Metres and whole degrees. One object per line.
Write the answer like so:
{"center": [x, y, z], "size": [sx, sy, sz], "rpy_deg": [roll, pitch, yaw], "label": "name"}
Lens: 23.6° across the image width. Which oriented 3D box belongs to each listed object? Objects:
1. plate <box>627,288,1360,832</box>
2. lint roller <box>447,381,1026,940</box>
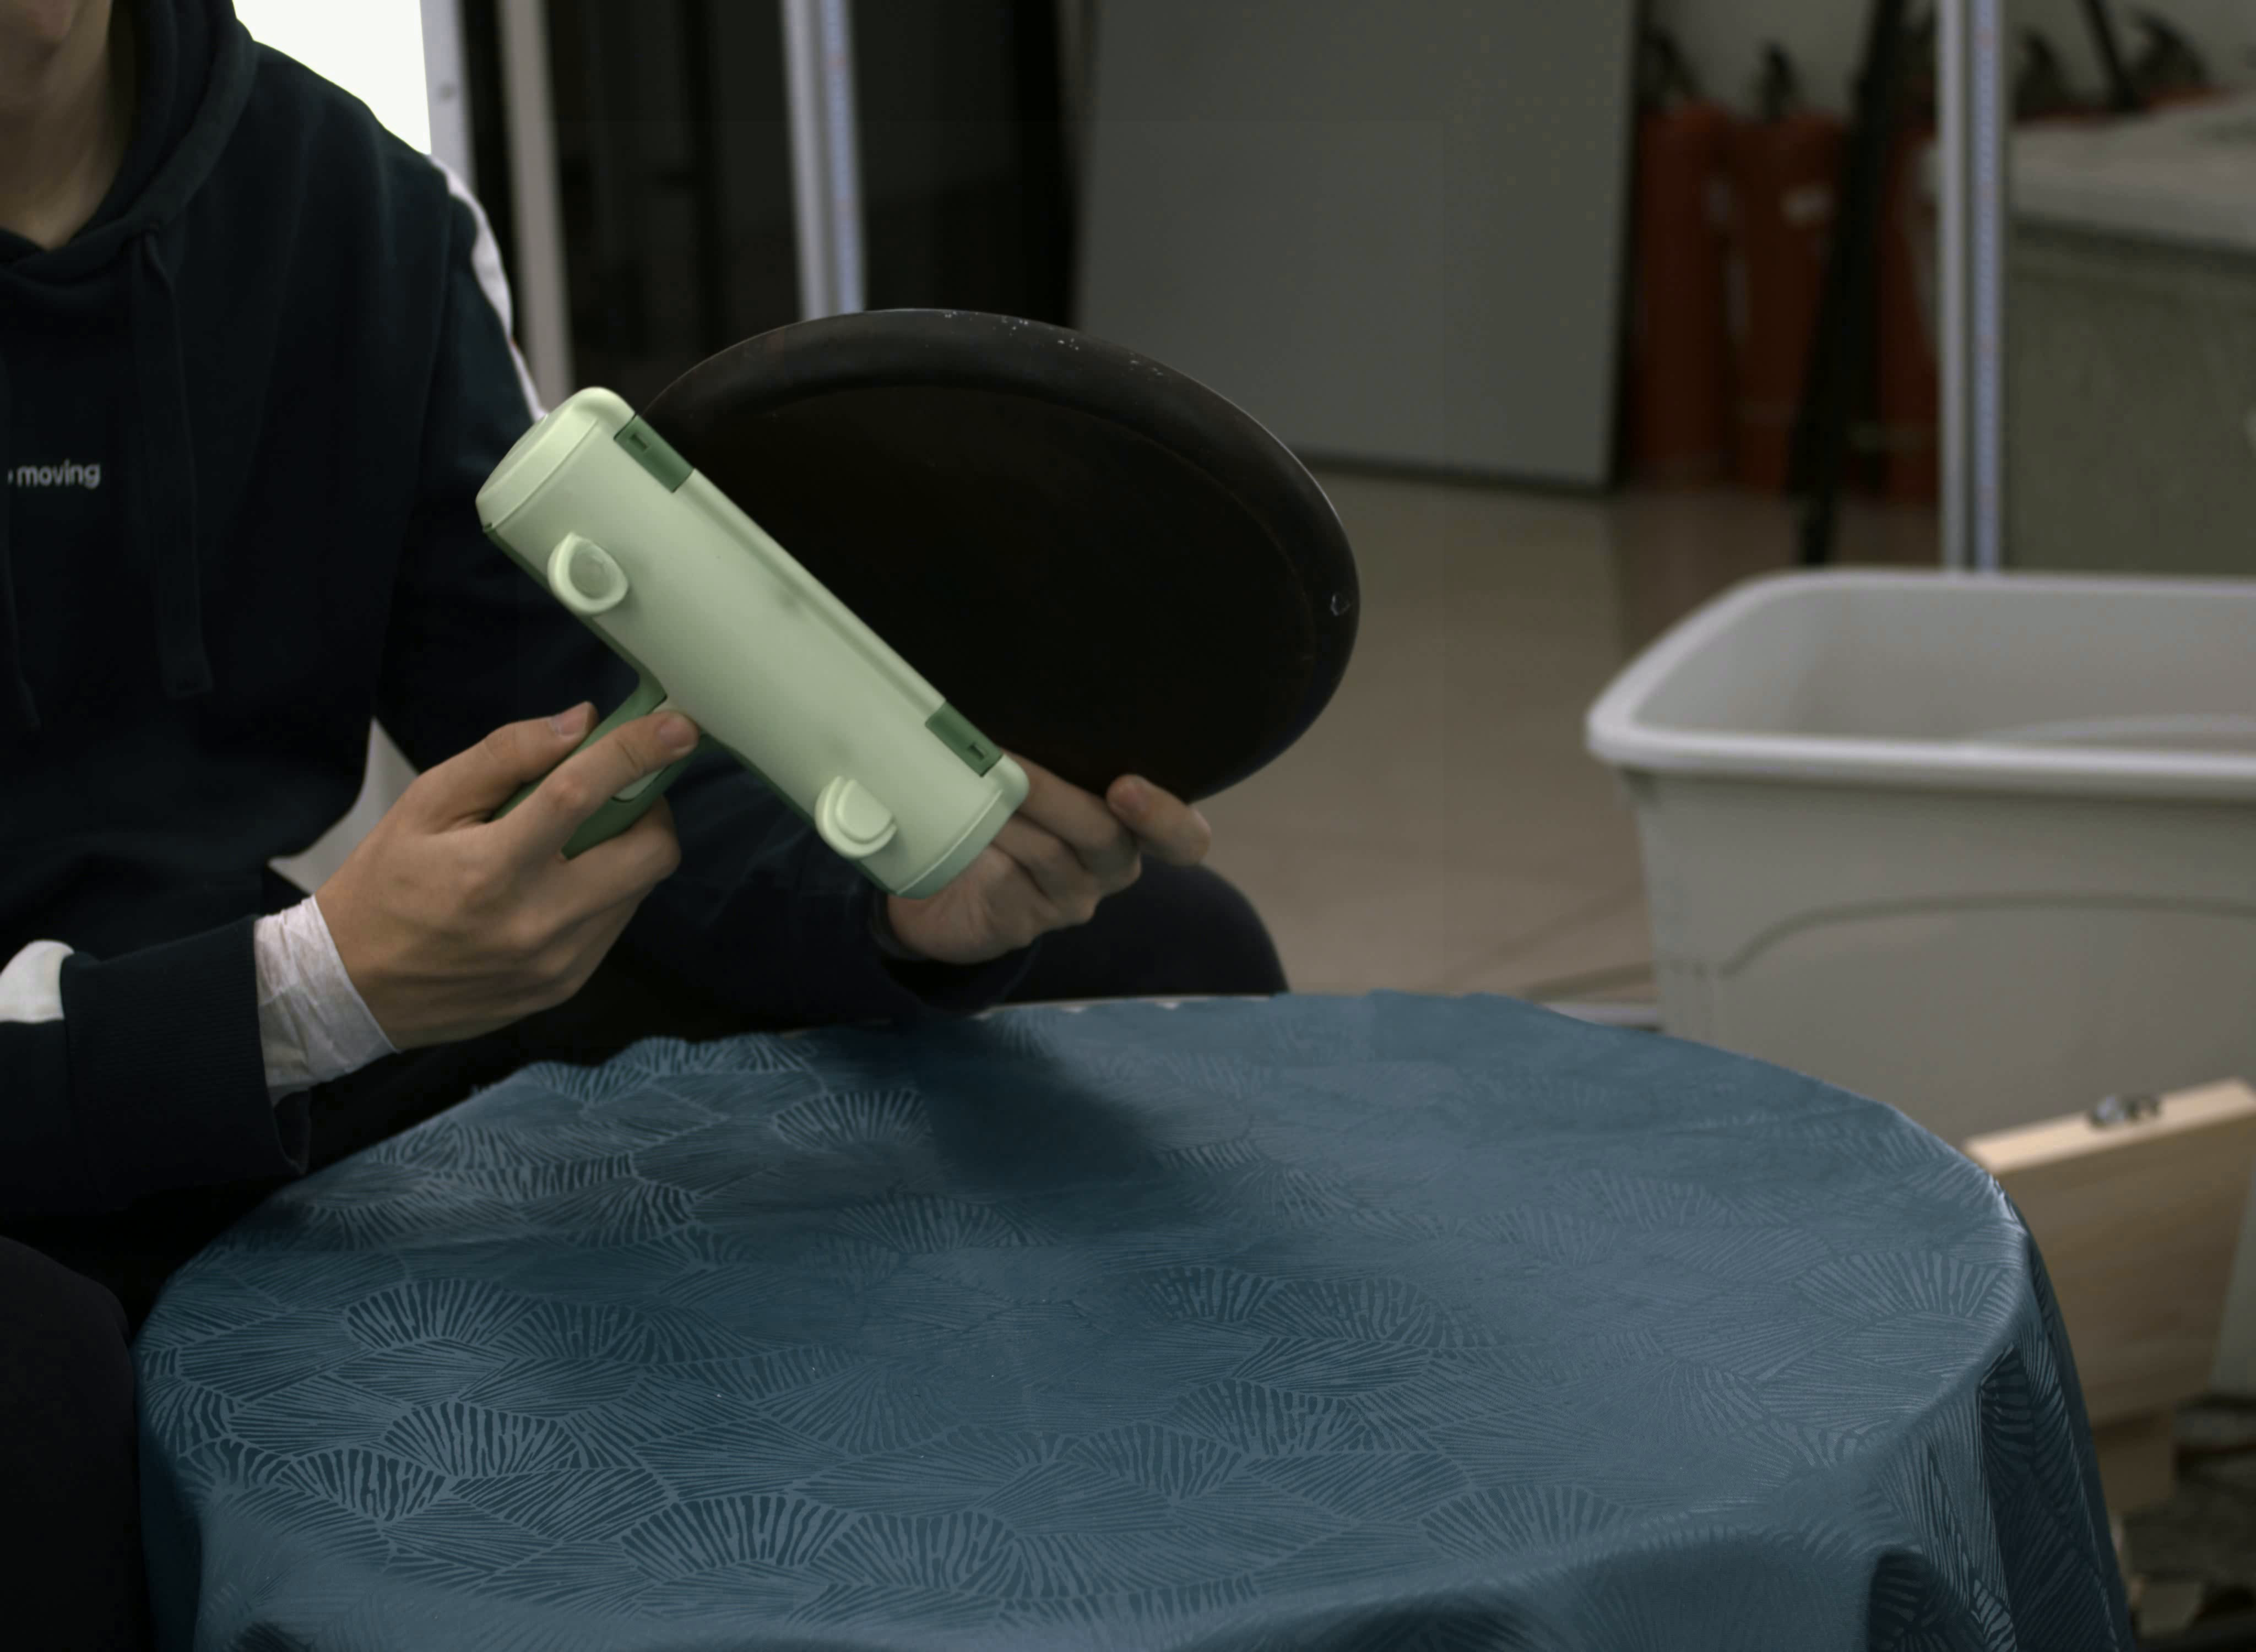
{"center": [-0.049, -0.080, 1.771], "size": [0.253, 0.254, 0.029], "rpy_deg": [0, 52, 14], "label": "plate"}
{"center": [-0.160, -0.017, 1.742], "size": [0.184, 0.197, 0.082], "rpy_deg": [-44, 12, 16], "label": "lint roller"}
